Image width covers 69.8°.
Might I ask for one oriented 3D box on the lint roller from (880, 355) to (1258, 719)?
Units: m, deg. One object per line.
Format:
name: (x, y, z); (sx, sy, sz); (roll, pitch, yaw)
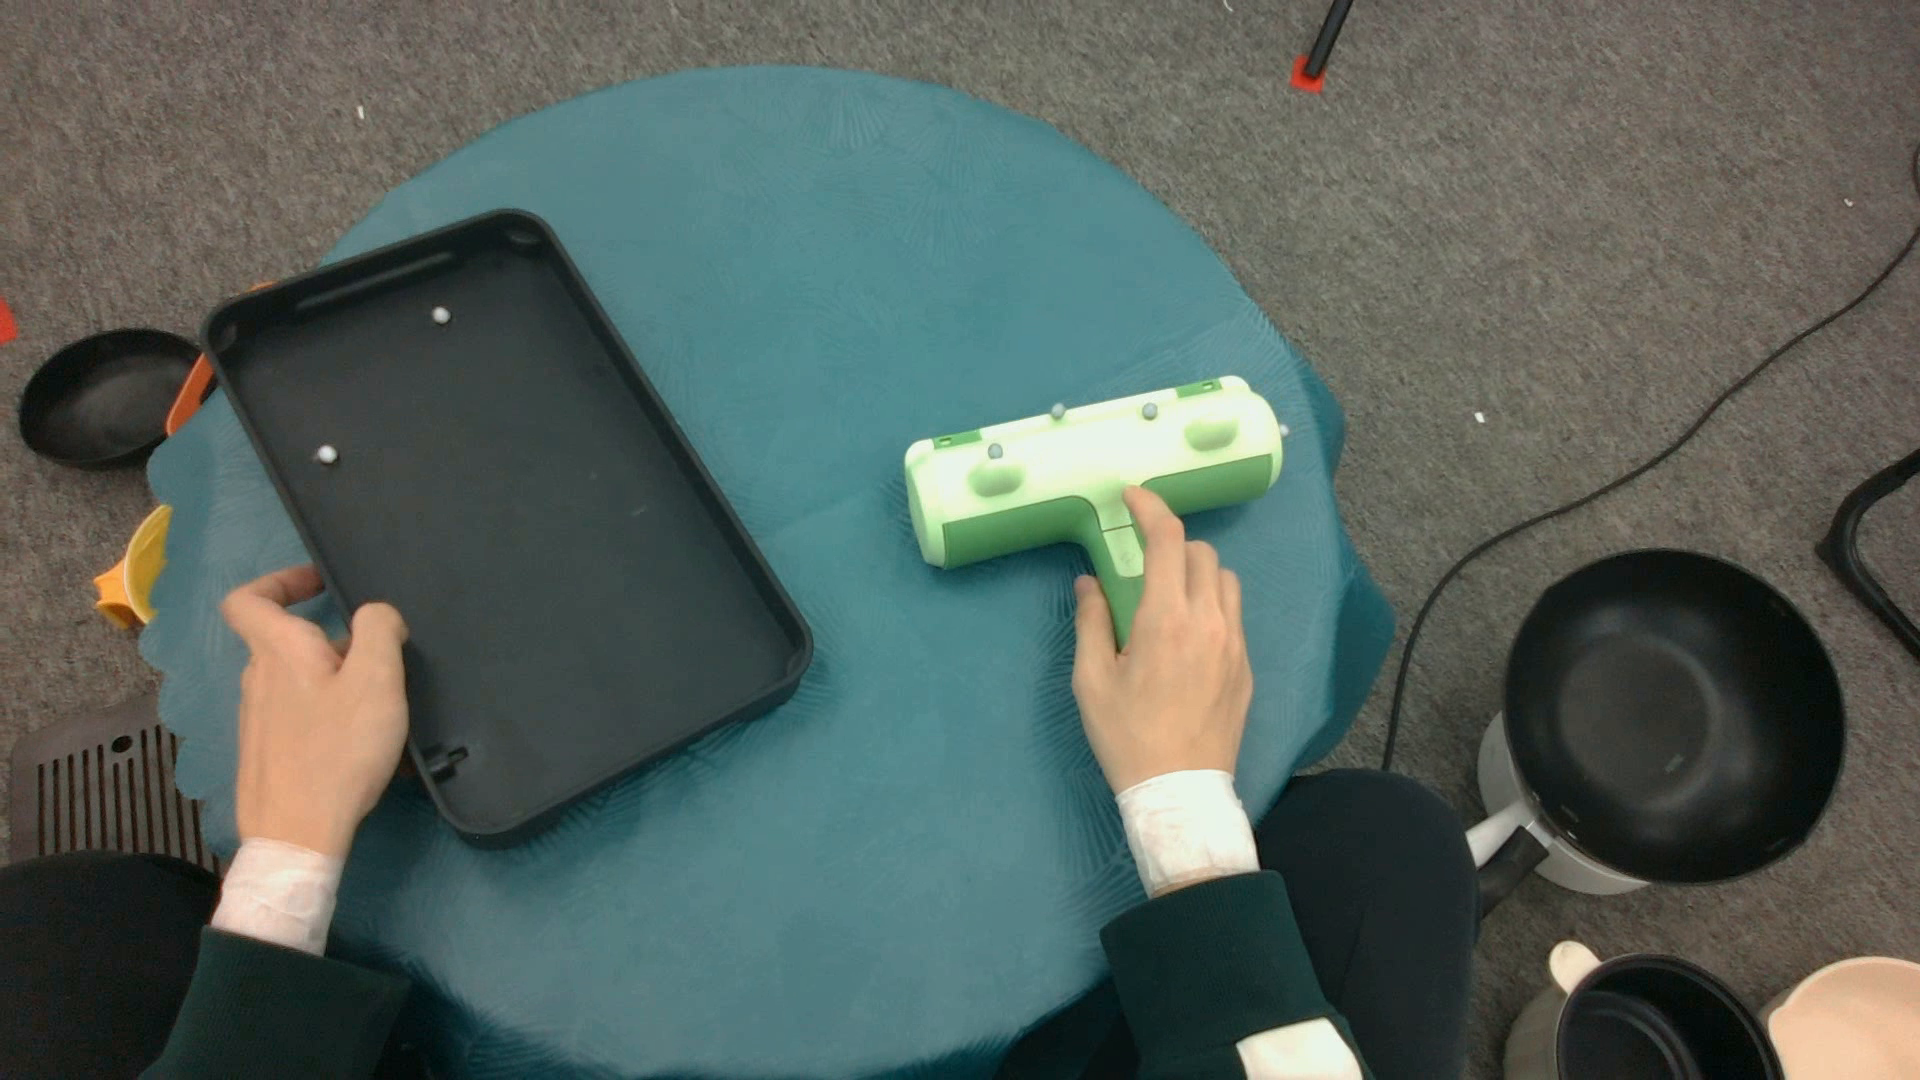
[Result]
lint roller: (0.075, -0.005, 0.693); (0.199, 0.082, 0.184); (-13, 59, -11)

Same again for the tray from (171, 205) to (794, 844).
tray: (-0.237, -0.022, 0.683); (0.185, 0.037, 0.318); (-28, 71, -25)
